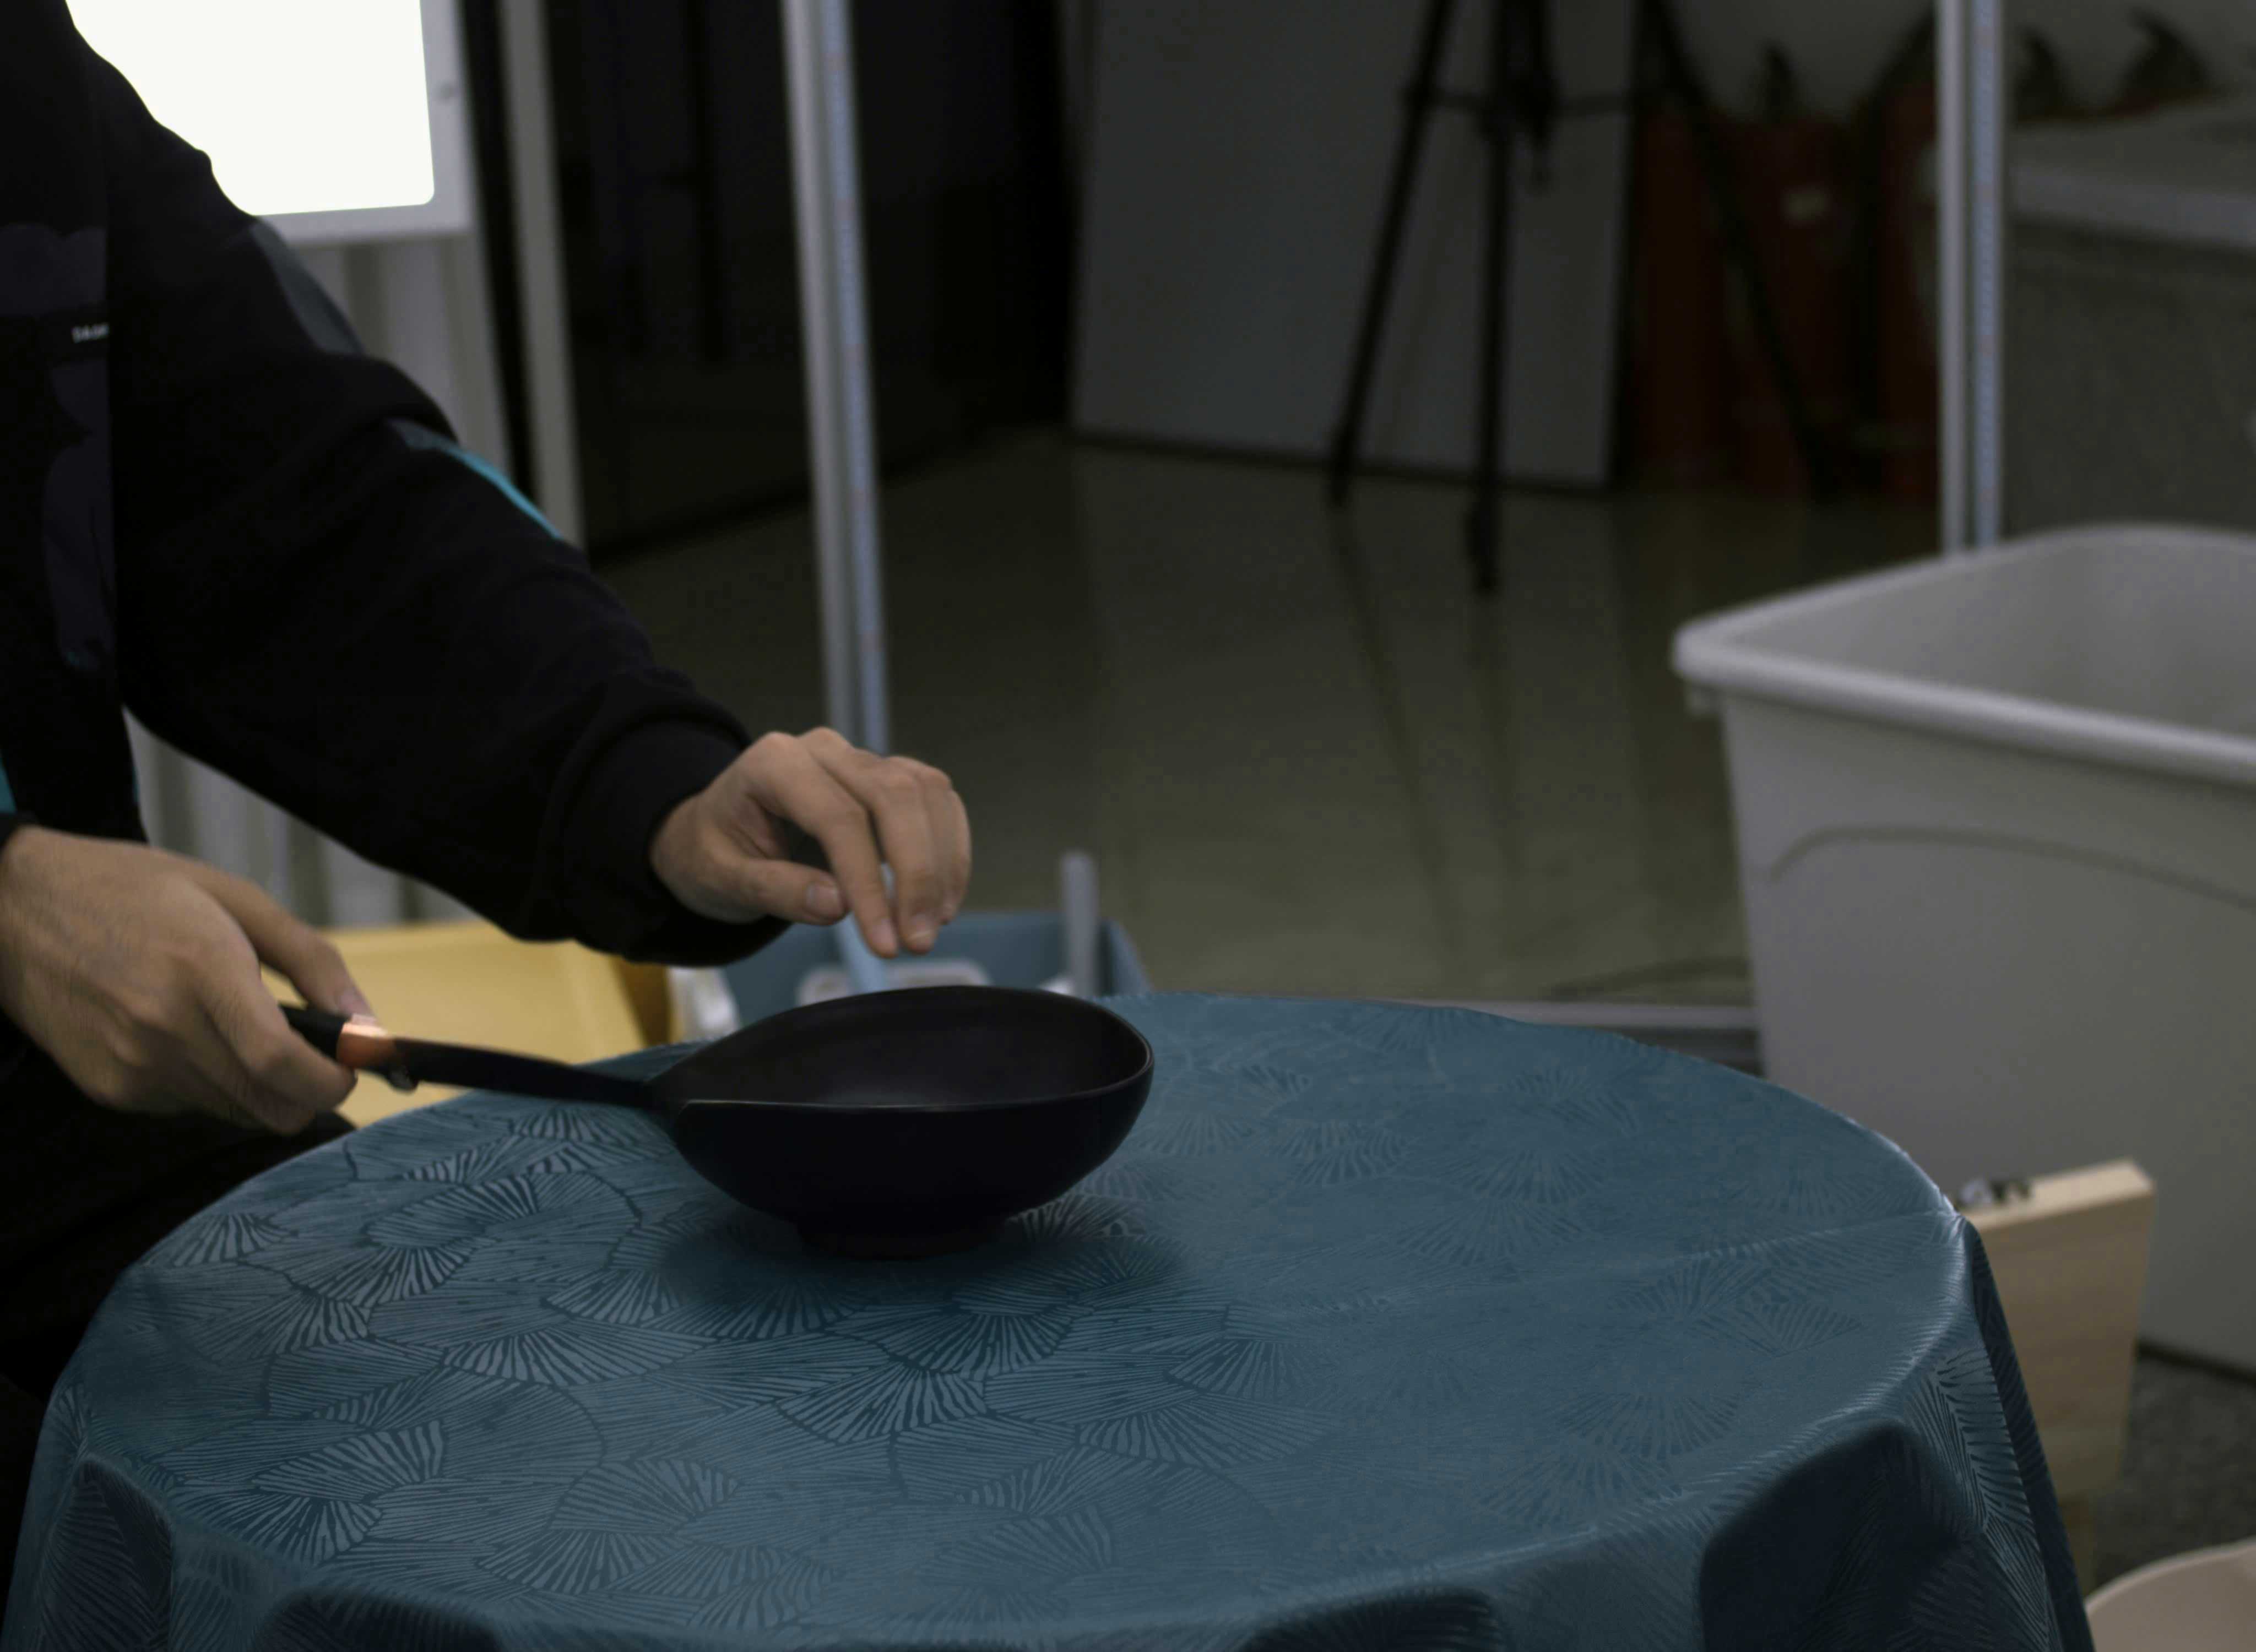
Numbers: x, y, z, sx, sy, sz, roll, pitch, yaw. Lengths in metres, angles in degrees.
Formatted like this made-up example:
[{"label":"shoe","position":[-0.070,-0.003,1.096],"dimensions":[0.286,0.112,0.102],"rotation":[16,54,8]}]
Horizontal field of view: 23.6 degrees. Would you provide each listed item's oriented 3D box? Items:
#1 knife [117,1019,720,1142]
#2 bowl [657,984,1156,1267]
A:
[{"label":"knife","position":[-0.218,0.077,1.646],"dimensions":[0.226,0.026,0.017],"rotation":[6,54,32]},{"label":"bowl","position":[-0.071,0.101,1.738],"dimensions":[0.170,0.067,0.136],"rotation":[-2,13,18]}]
